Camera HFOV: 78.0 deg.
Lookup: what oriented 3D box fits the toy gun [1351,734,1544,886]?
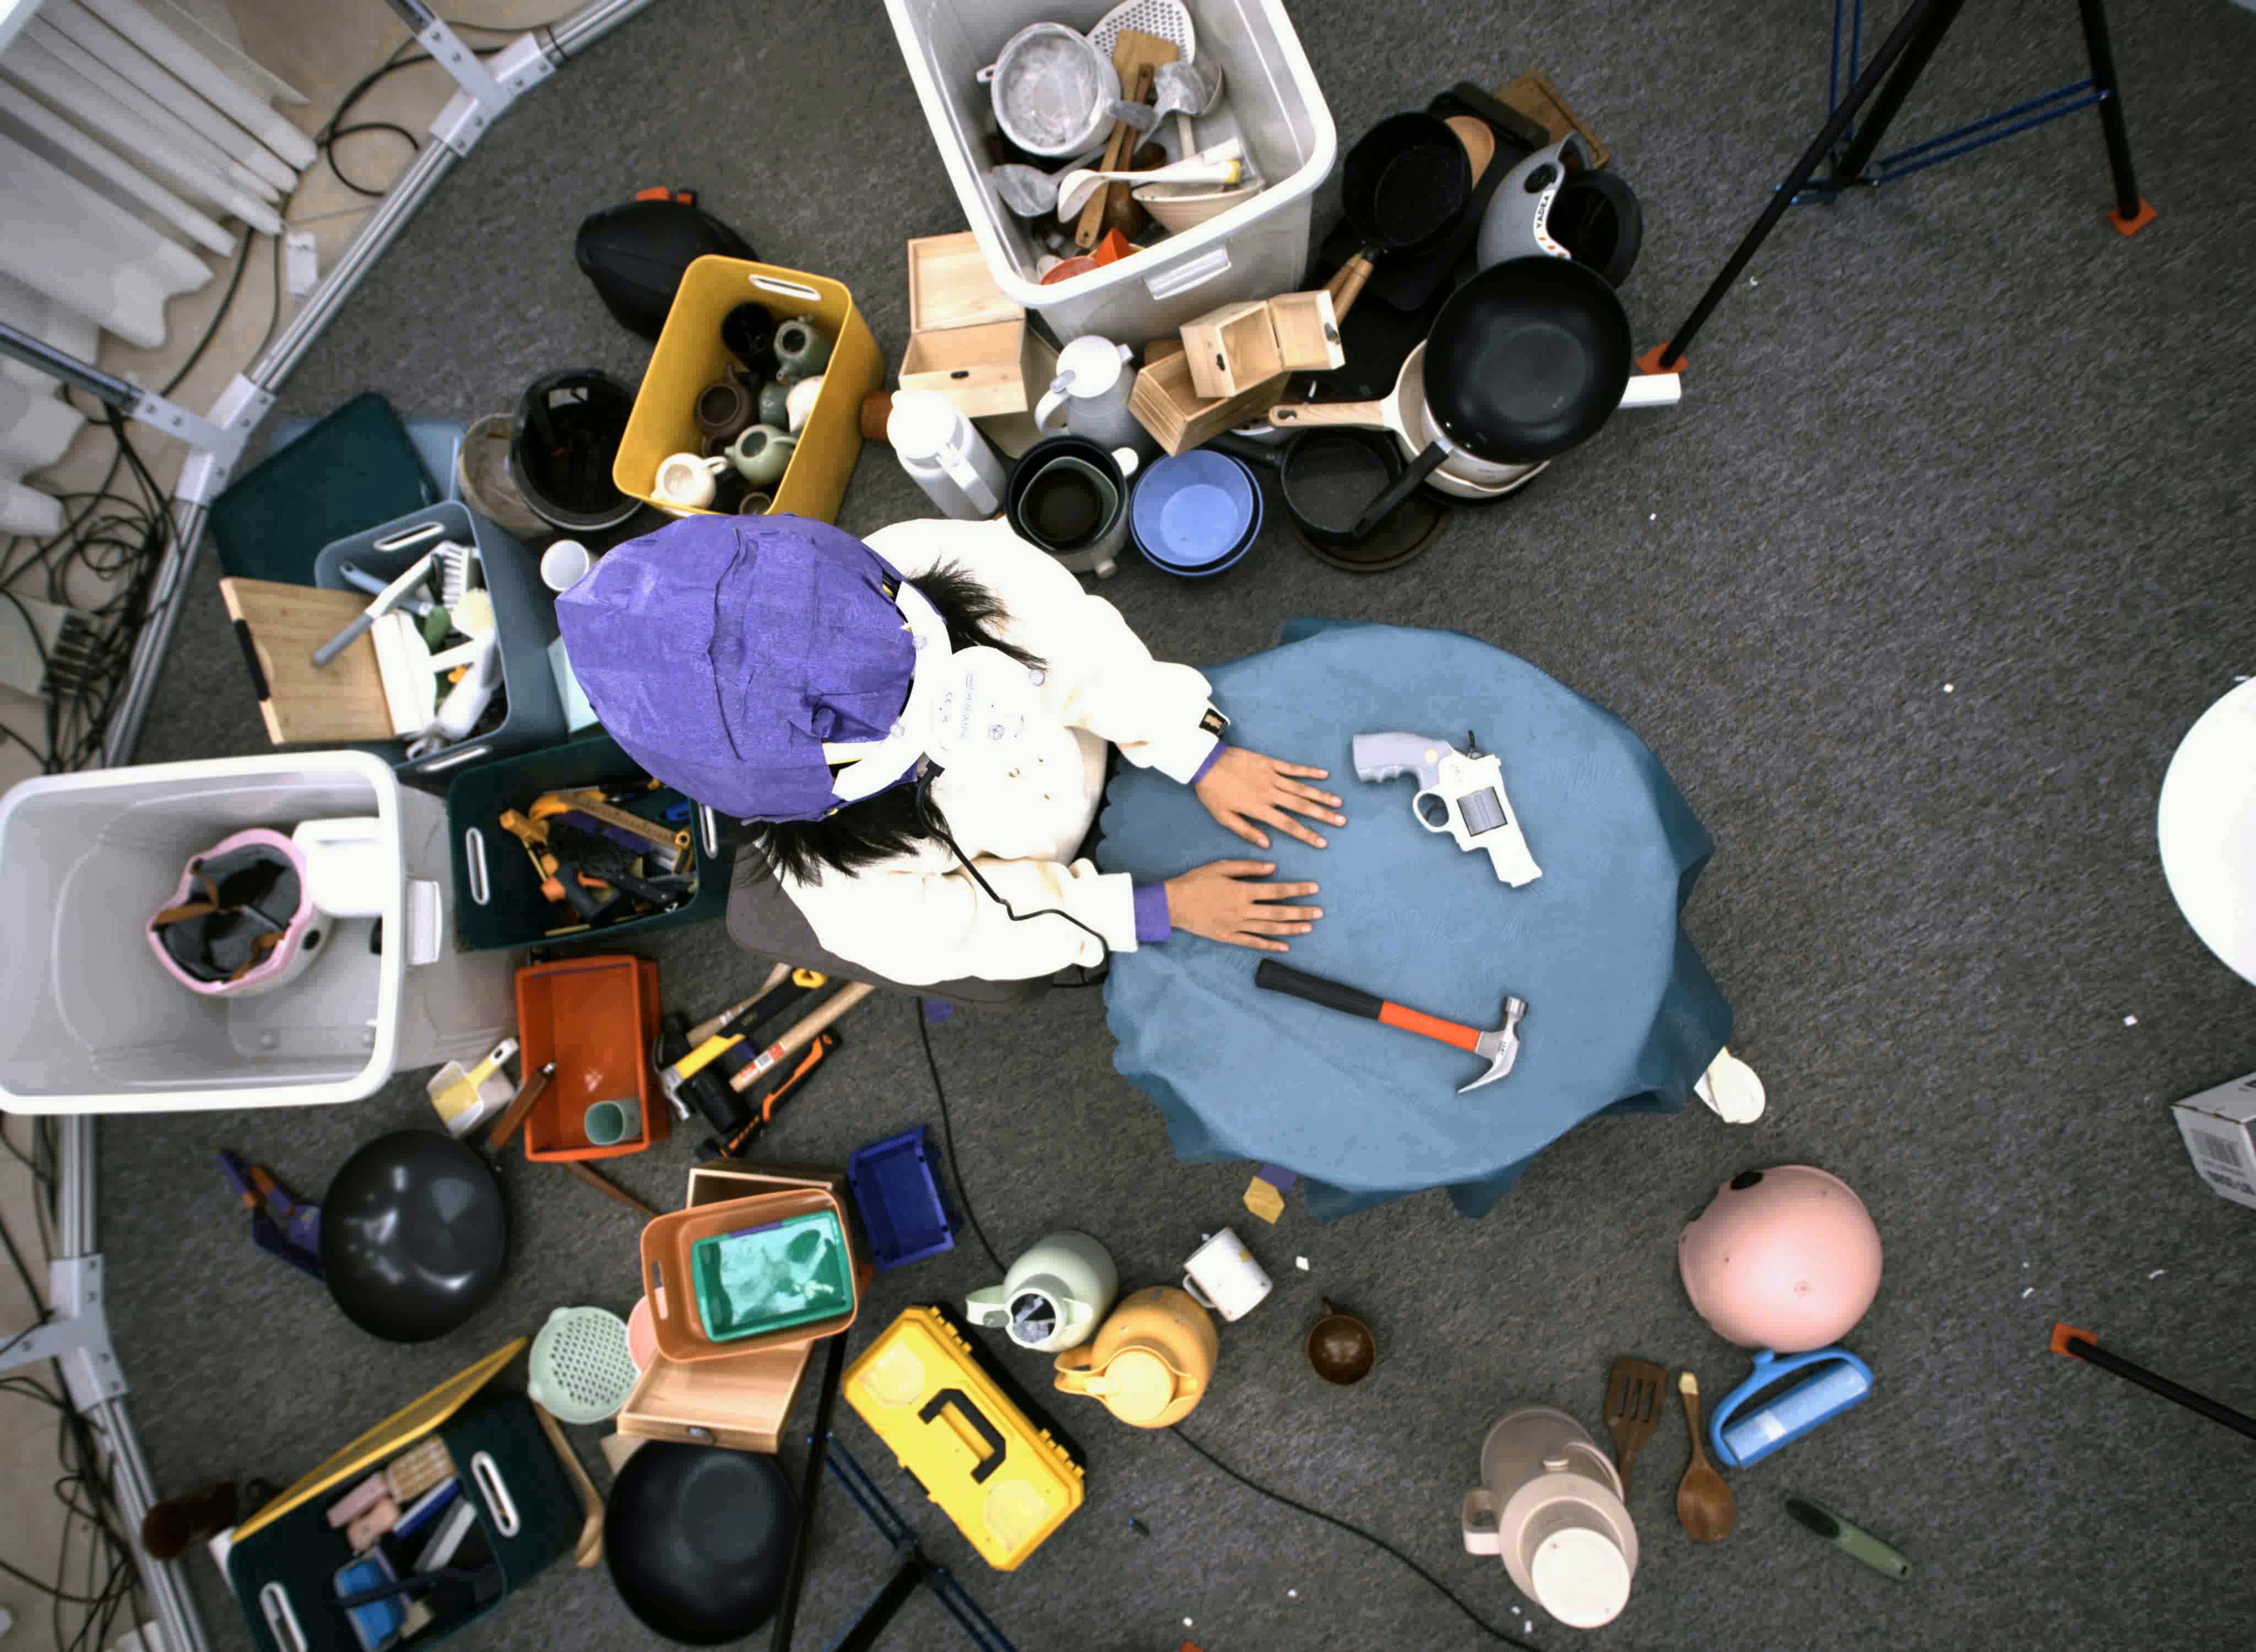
[{"bbox_3d":[0.329,-0.021,1.434,0.142,0.039,0.208,-23,83,7],"label":"toy gun"}]

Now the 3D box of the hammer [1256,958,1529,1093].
[{"bbox_3d":[0.267,0.193,1.440,0.277,0.026,0.111,17,98,11],"label":"hammer"}]
